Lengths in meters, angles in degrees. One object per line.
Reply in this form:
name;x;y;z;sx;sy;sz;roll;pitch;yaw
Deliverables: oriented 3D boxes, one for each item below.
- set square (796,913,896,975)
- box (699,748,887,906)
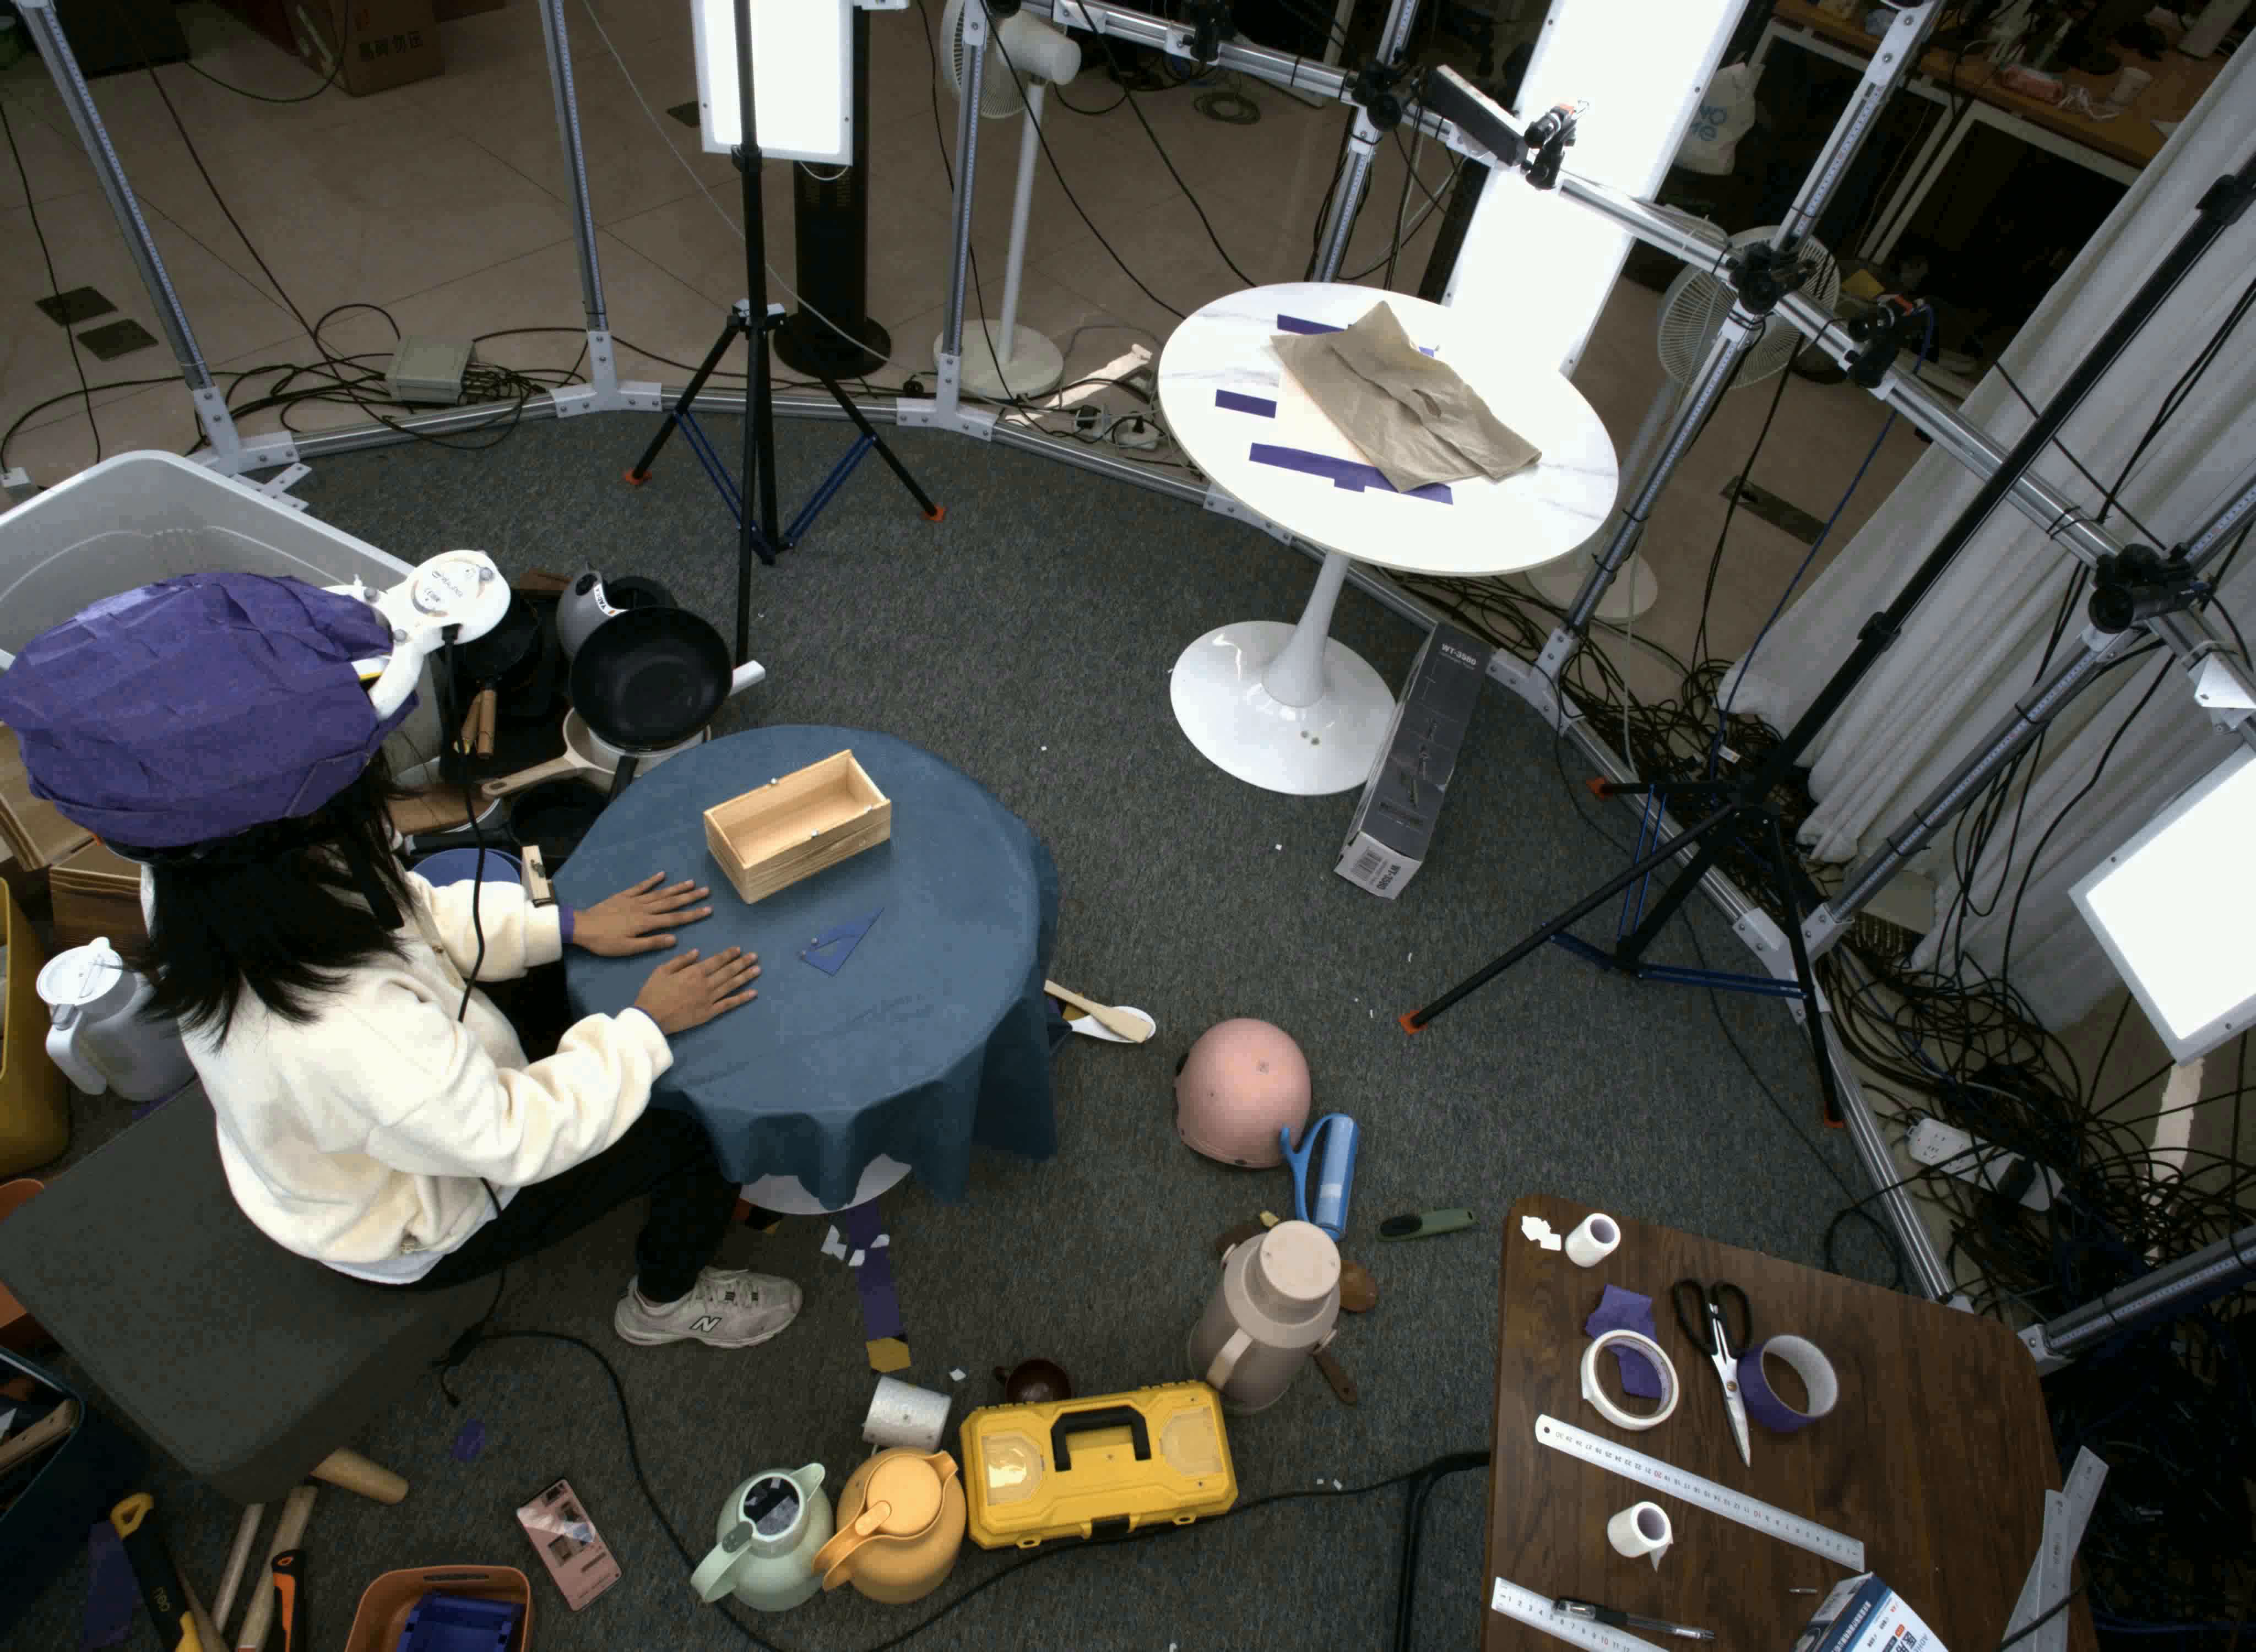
set square;-0.343;0.148;1.627;0.132;0.007;0.059;-21;60;-27
box;-0.428;-0.002;1.668;0.212;0.082;0.105;-29;63;-31
